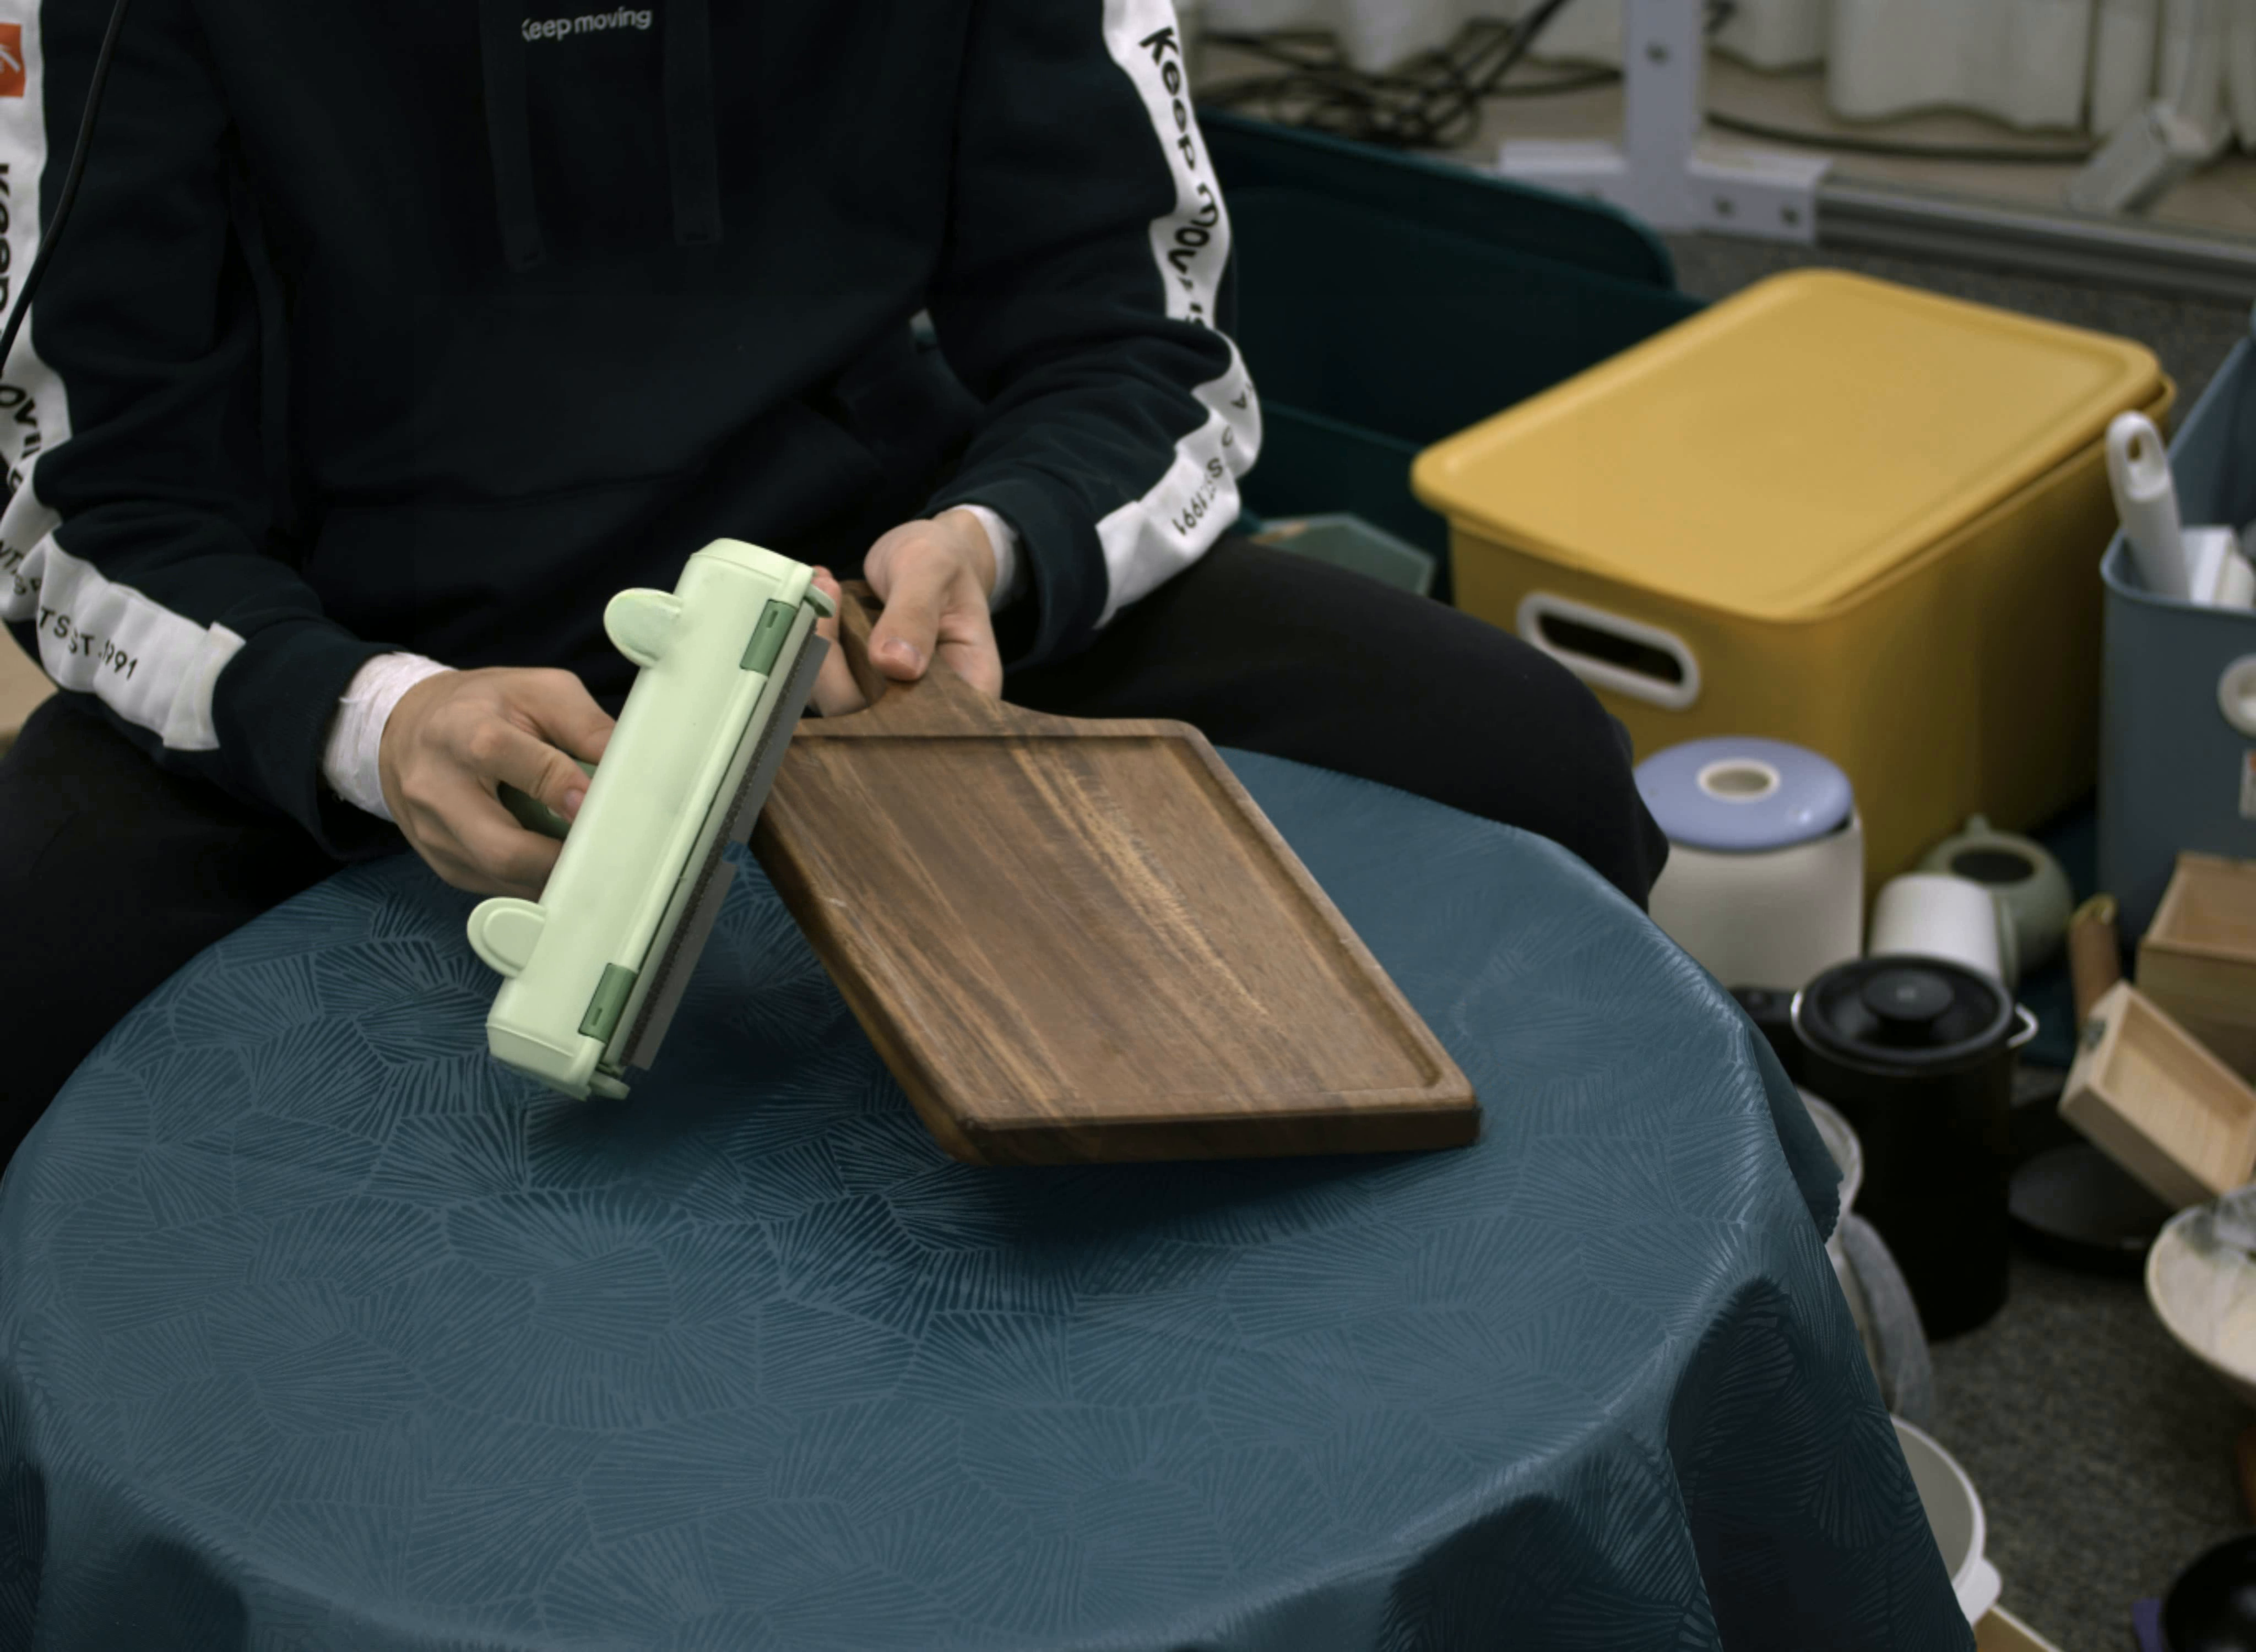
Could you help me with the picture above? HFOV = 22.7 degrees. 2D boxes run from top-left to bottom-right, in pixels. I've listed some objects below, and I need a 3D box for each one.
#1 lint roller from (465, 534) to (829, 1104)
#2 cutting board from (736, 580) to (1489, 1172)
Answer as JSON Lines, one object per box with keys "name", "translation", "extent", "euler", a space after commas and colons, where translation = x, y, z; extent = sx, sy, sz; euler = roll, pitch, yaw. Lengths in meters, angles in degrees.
{"name": "lint roller", "translation": [-0.197, -0.011, 1.953], "extent": [0.082, 0.200, 0.182], "euler": [30, -12, -37]}
{"name": "cutting board", "translation": [-0.034, 0.010, 1.960], "extent": [0.201, 0.023, 0.355], "euler": [0, 31, -28]}
